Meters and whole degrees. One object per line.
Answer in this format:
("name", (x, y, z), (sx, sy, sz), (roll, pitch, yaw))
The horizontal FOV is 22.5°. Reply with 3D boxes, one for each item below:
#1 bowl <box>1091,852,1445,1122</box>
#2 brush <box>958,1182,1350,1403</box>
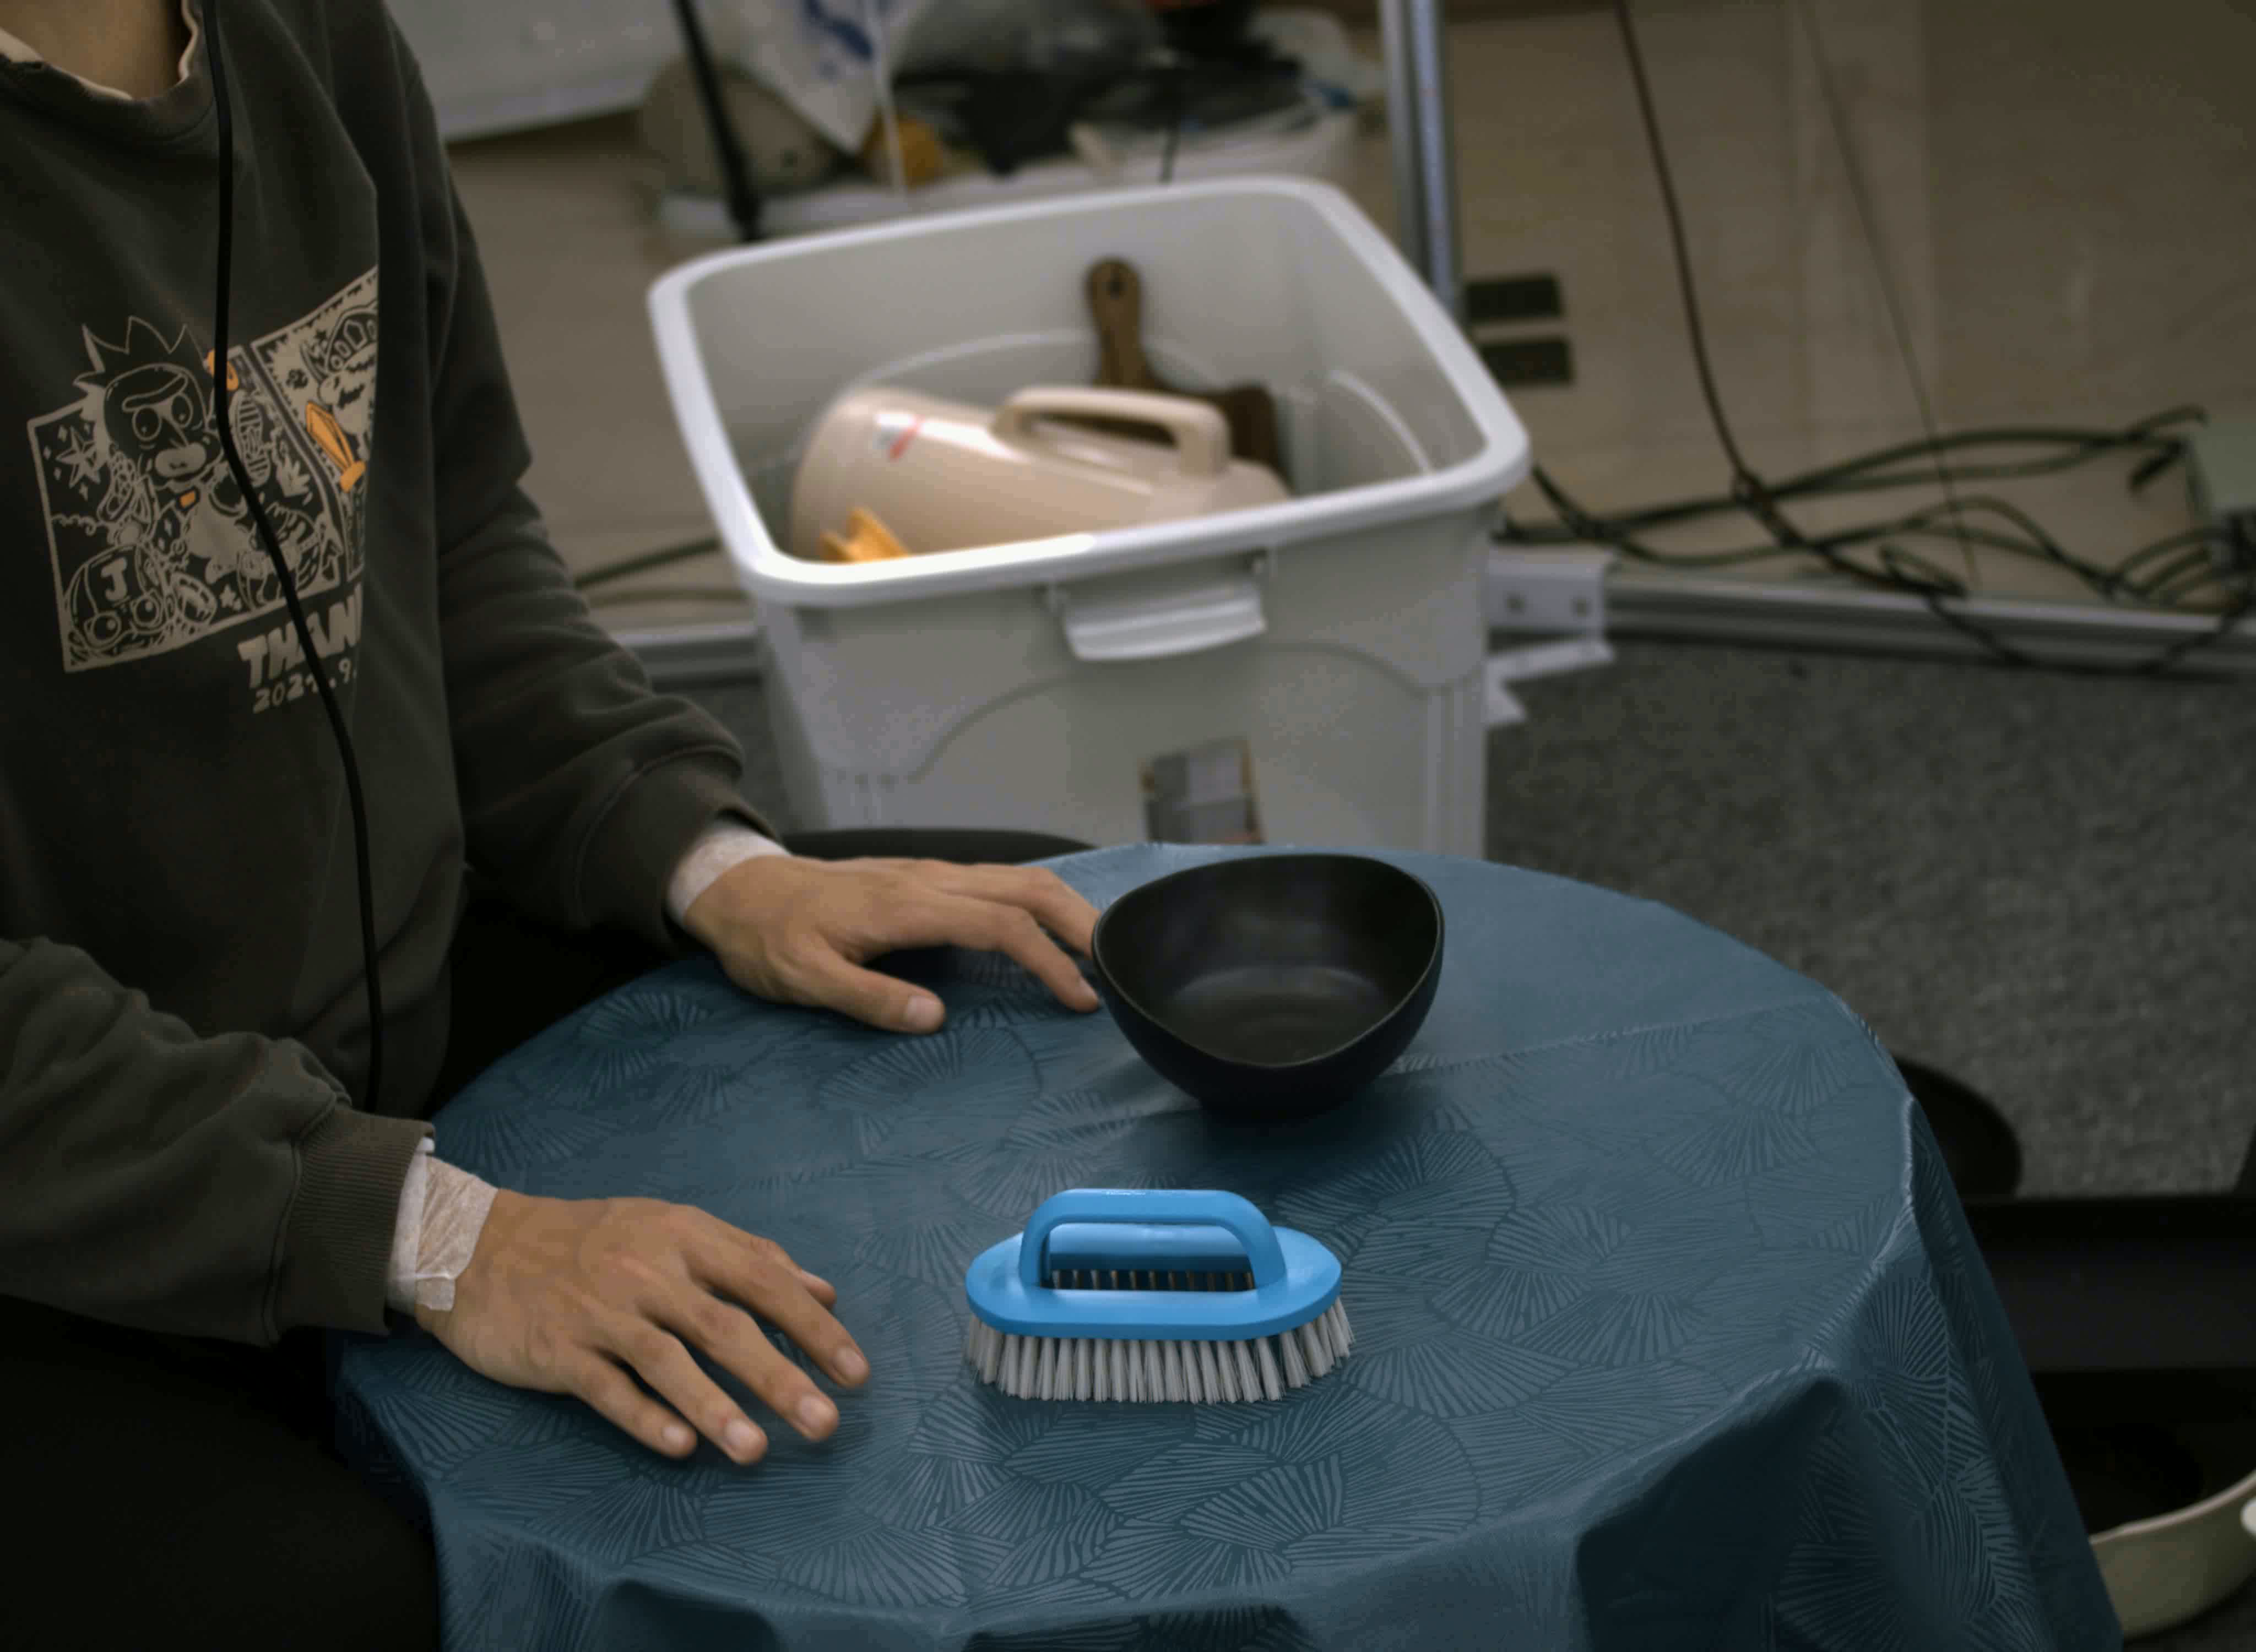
("bowl", (0.058, 0.070, 2.204), (0.137, 0.068, 0.168), (-9, 27, -4))
("brush", (0.009, 0.159, 2.022), (0.141, 0.065, 0.083), (2, 22, 15))
